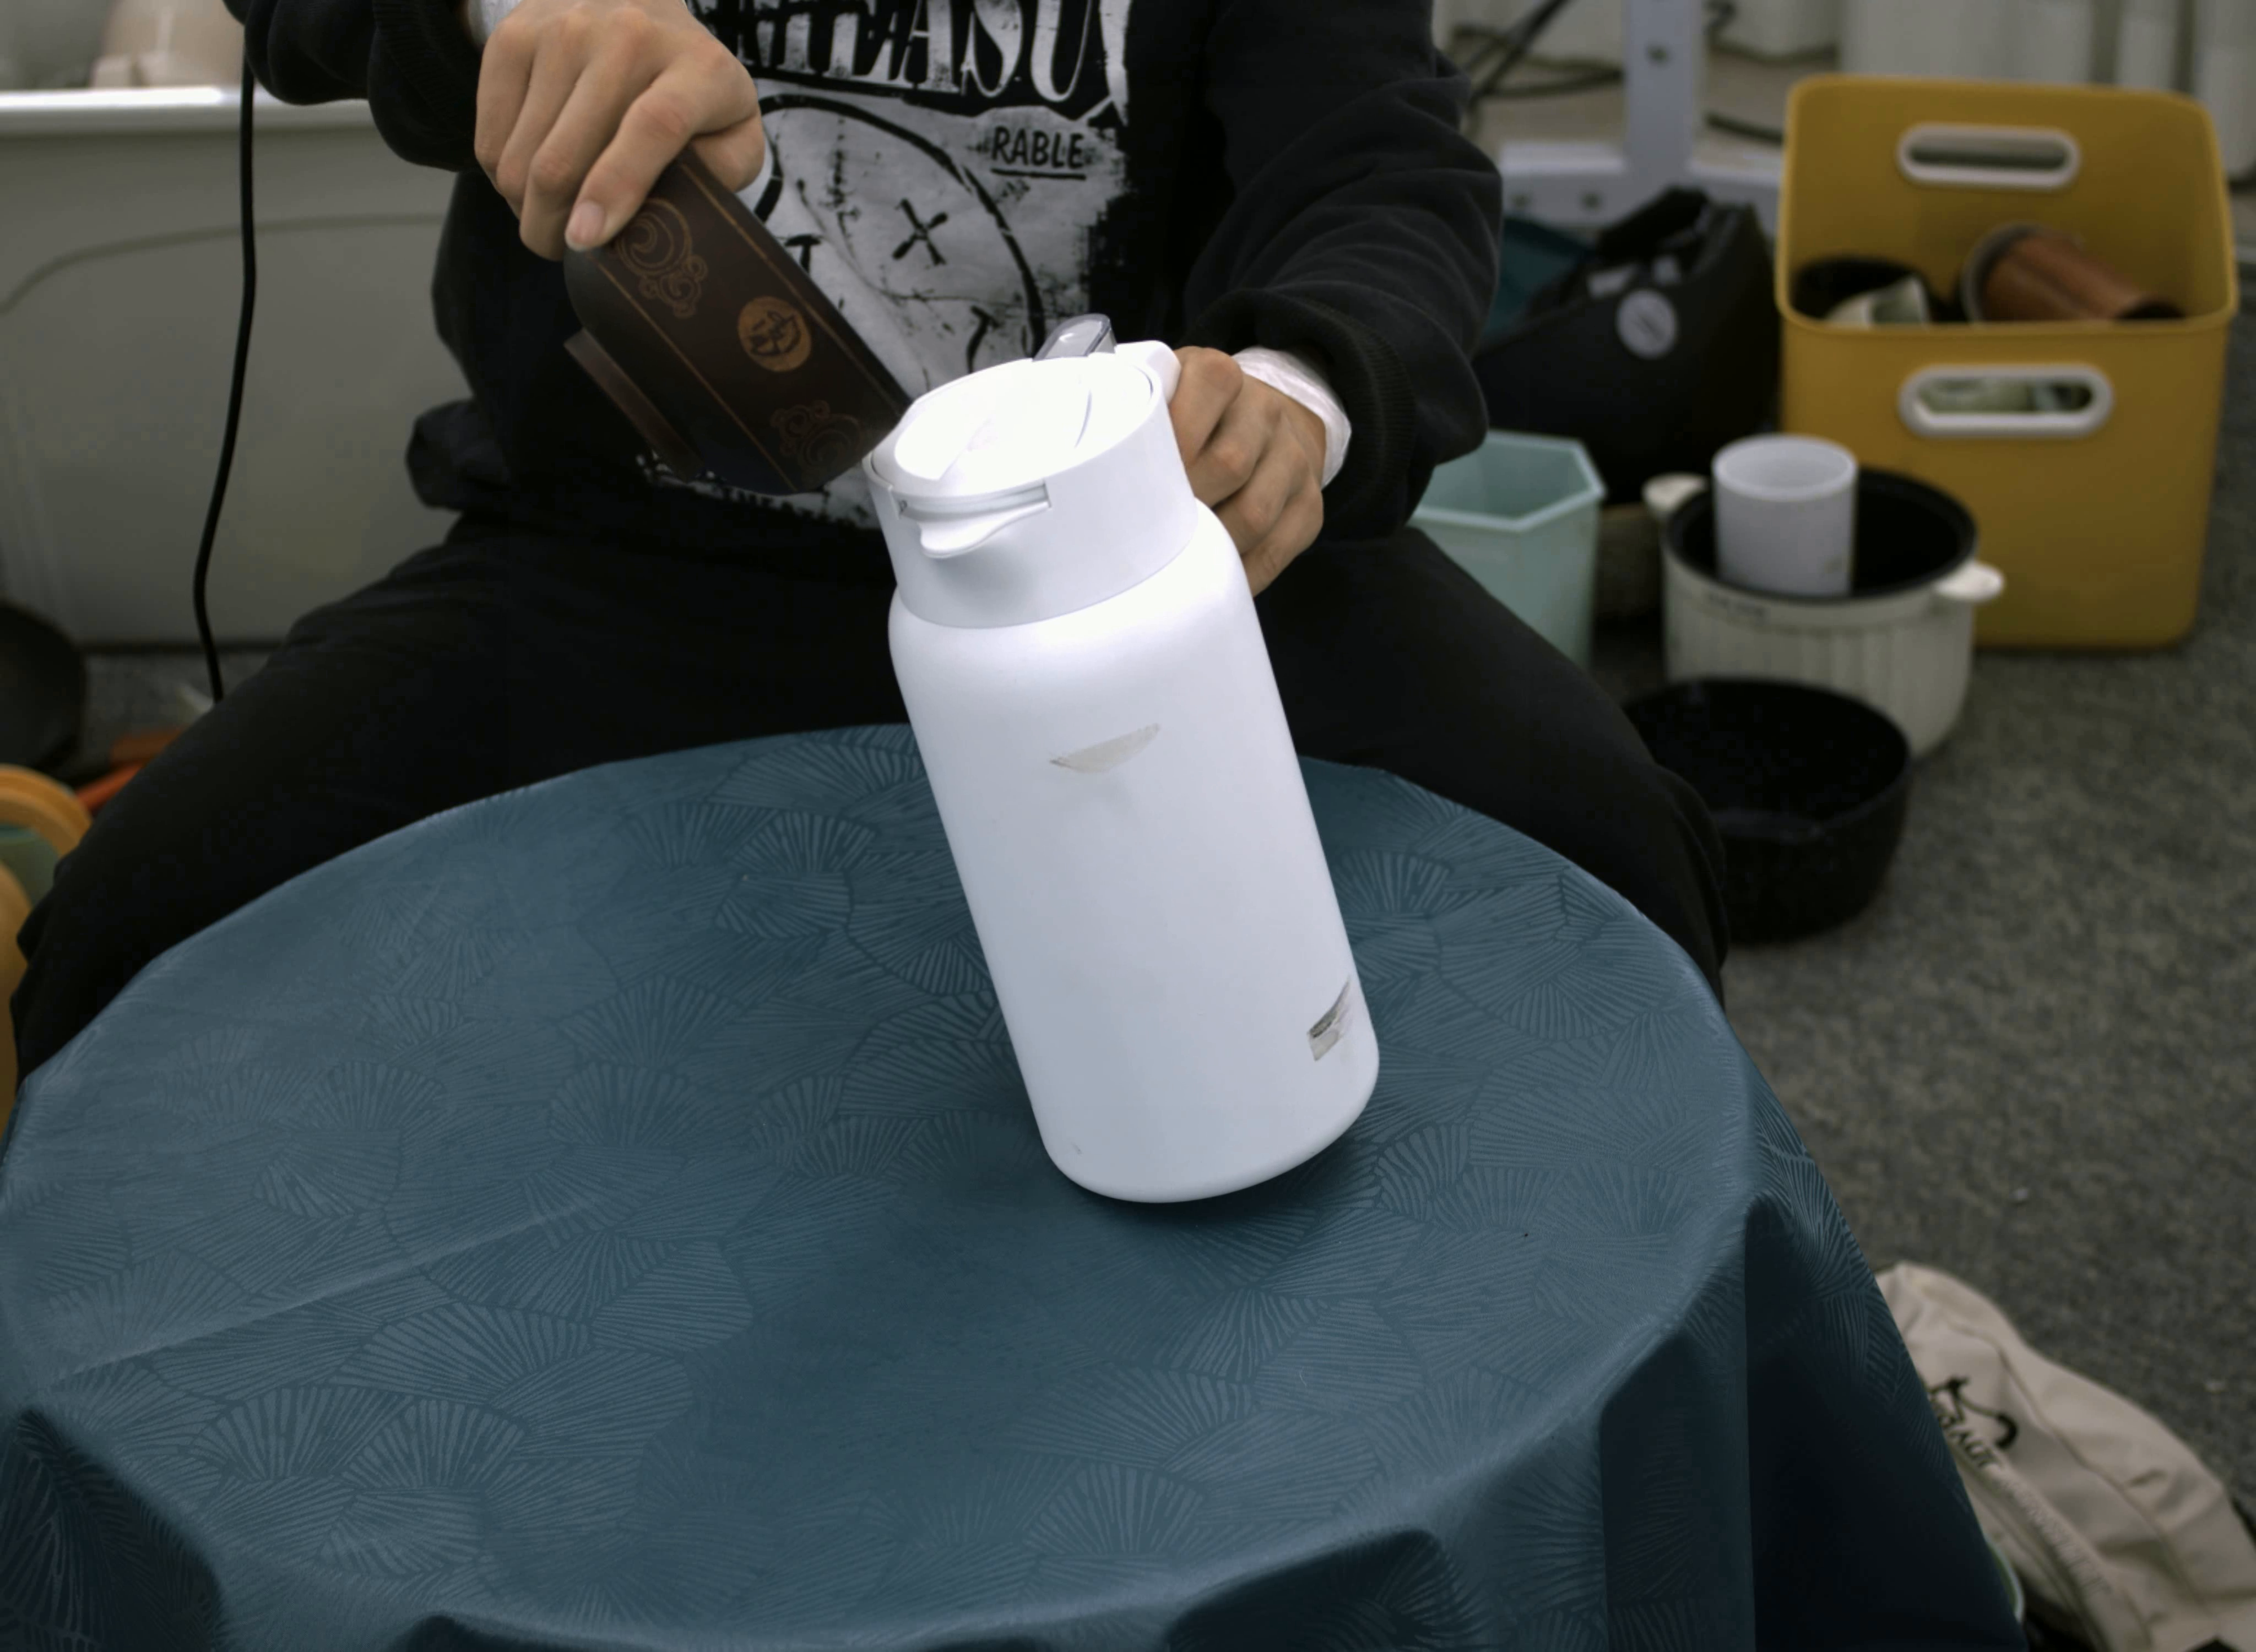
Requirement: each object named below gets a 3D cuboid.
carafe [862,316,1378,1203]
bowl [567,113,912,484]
[{"bbox_3d":[0.000,-0.025,1.841,0.122,0.266,0.176,-7,27,24],"label":"carafe"},{"bbox_3d":[-0.129,-0.153,1.736,0.070,0.117,0.119,-40,34,-2],"label":"bowl"}]
